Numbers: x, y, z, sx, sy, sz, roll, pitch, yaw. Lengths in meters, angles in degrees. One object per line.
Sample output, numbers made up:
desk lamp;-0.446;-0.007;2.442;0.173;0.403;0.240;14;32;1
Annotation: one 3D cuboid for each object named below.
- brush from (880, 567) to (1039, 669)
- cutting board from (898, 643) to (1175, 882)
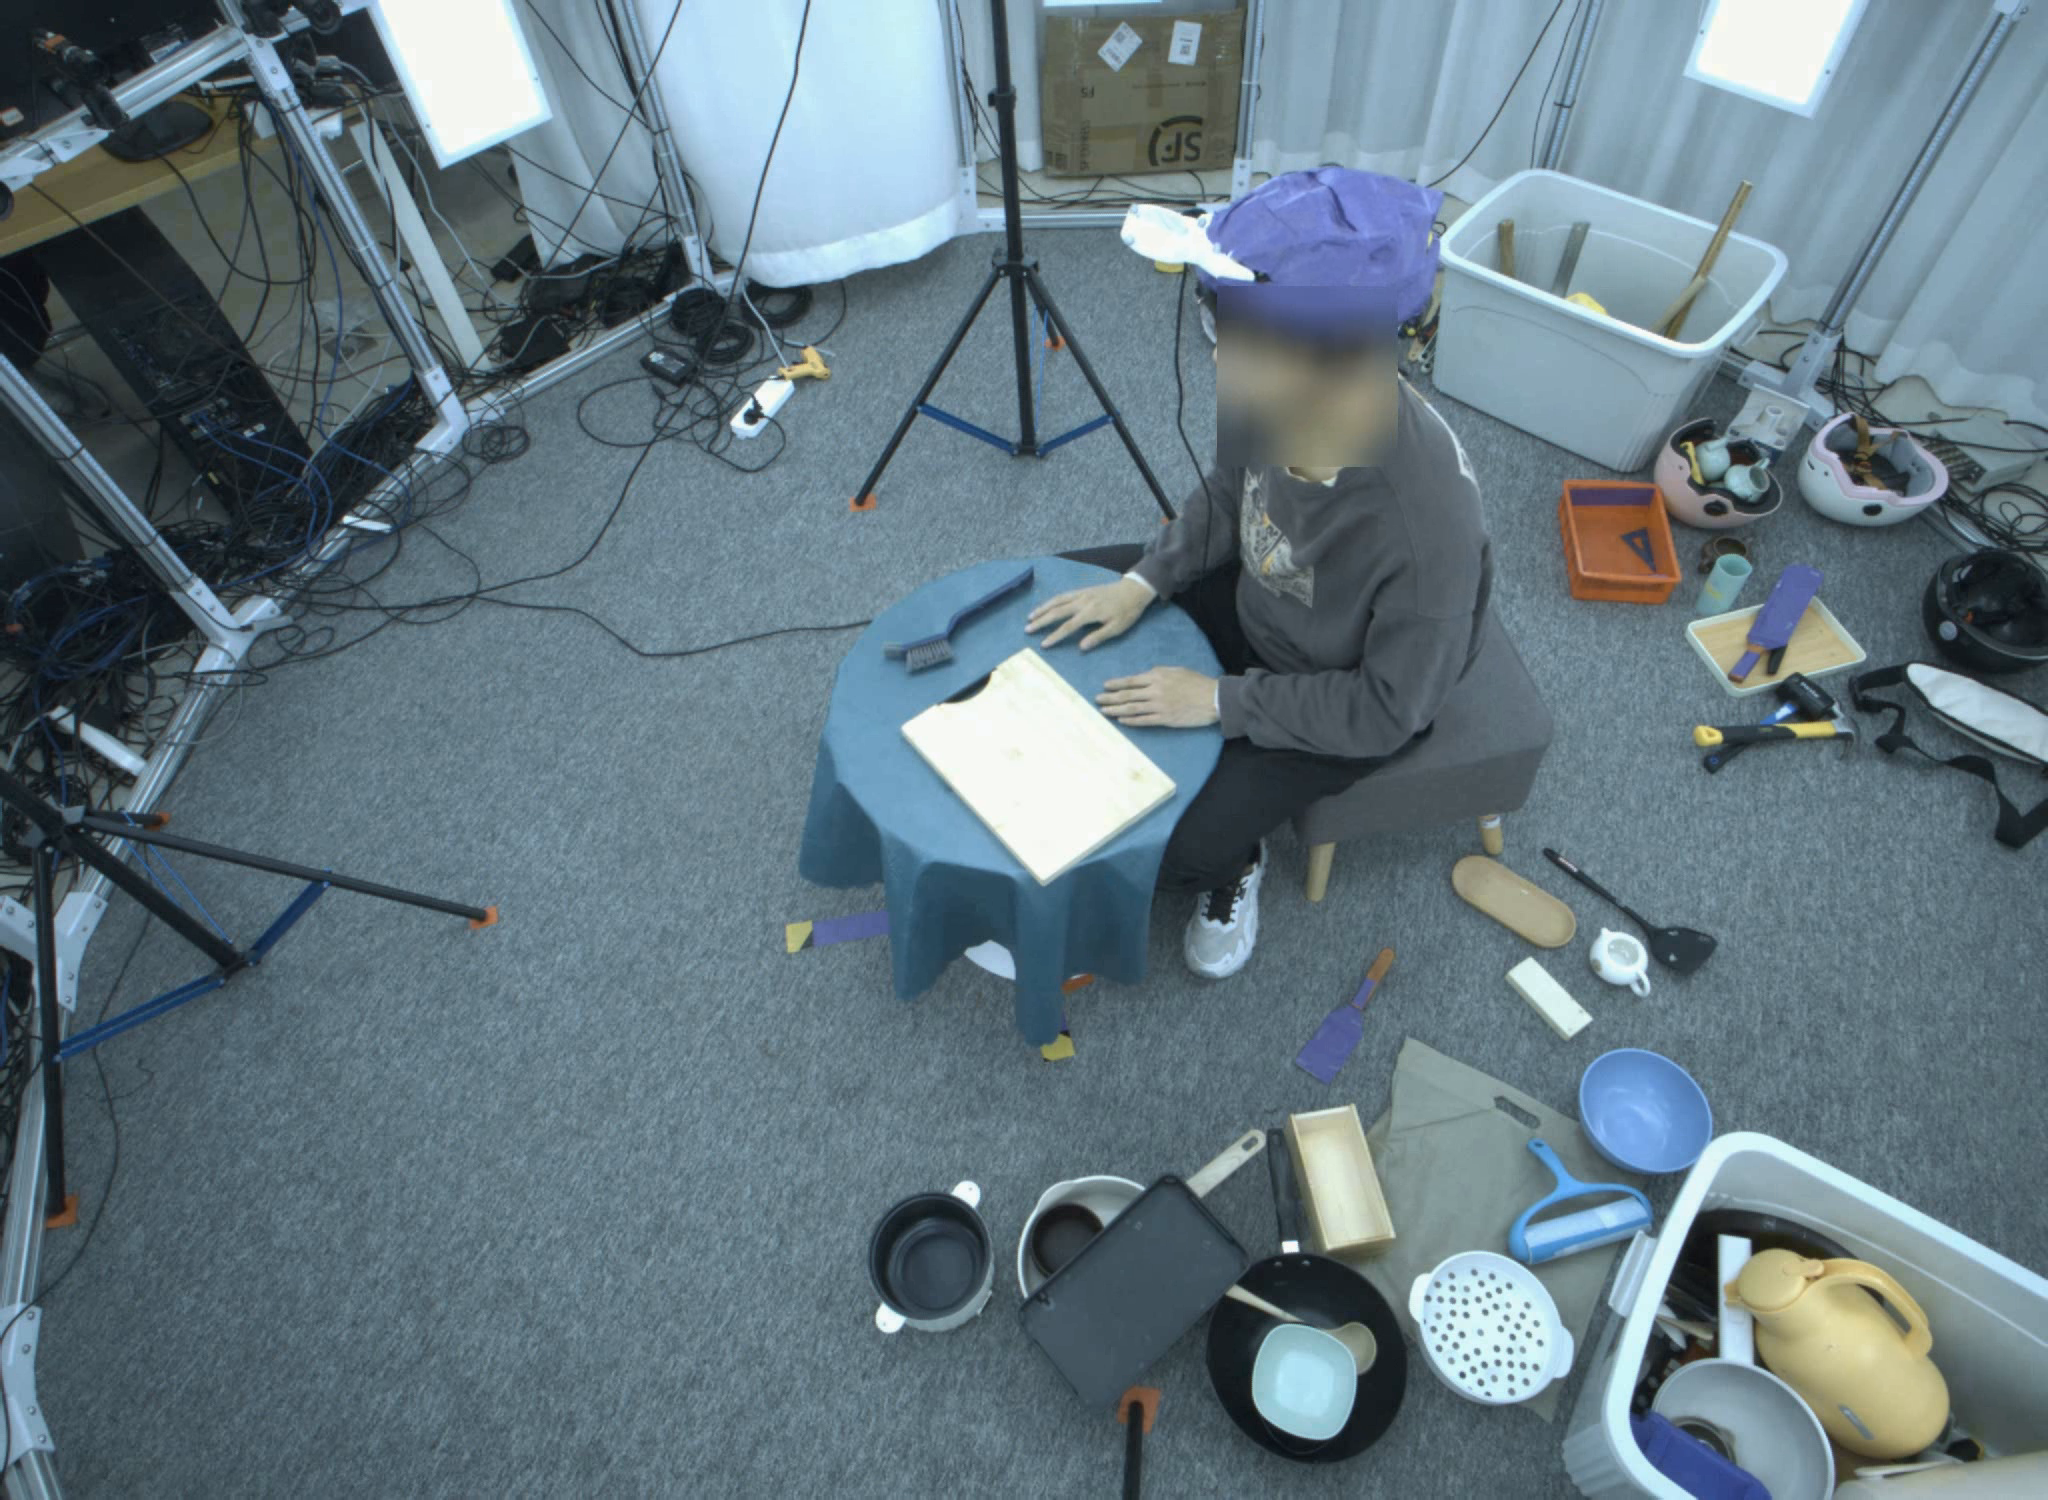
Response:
brush;-0.095;-0.217;1.925;0.094;0.034;0.275;38;65;26
cutting board;0.013;0.009;1.768;0.253;0.024;0.342;-34;60;-21
